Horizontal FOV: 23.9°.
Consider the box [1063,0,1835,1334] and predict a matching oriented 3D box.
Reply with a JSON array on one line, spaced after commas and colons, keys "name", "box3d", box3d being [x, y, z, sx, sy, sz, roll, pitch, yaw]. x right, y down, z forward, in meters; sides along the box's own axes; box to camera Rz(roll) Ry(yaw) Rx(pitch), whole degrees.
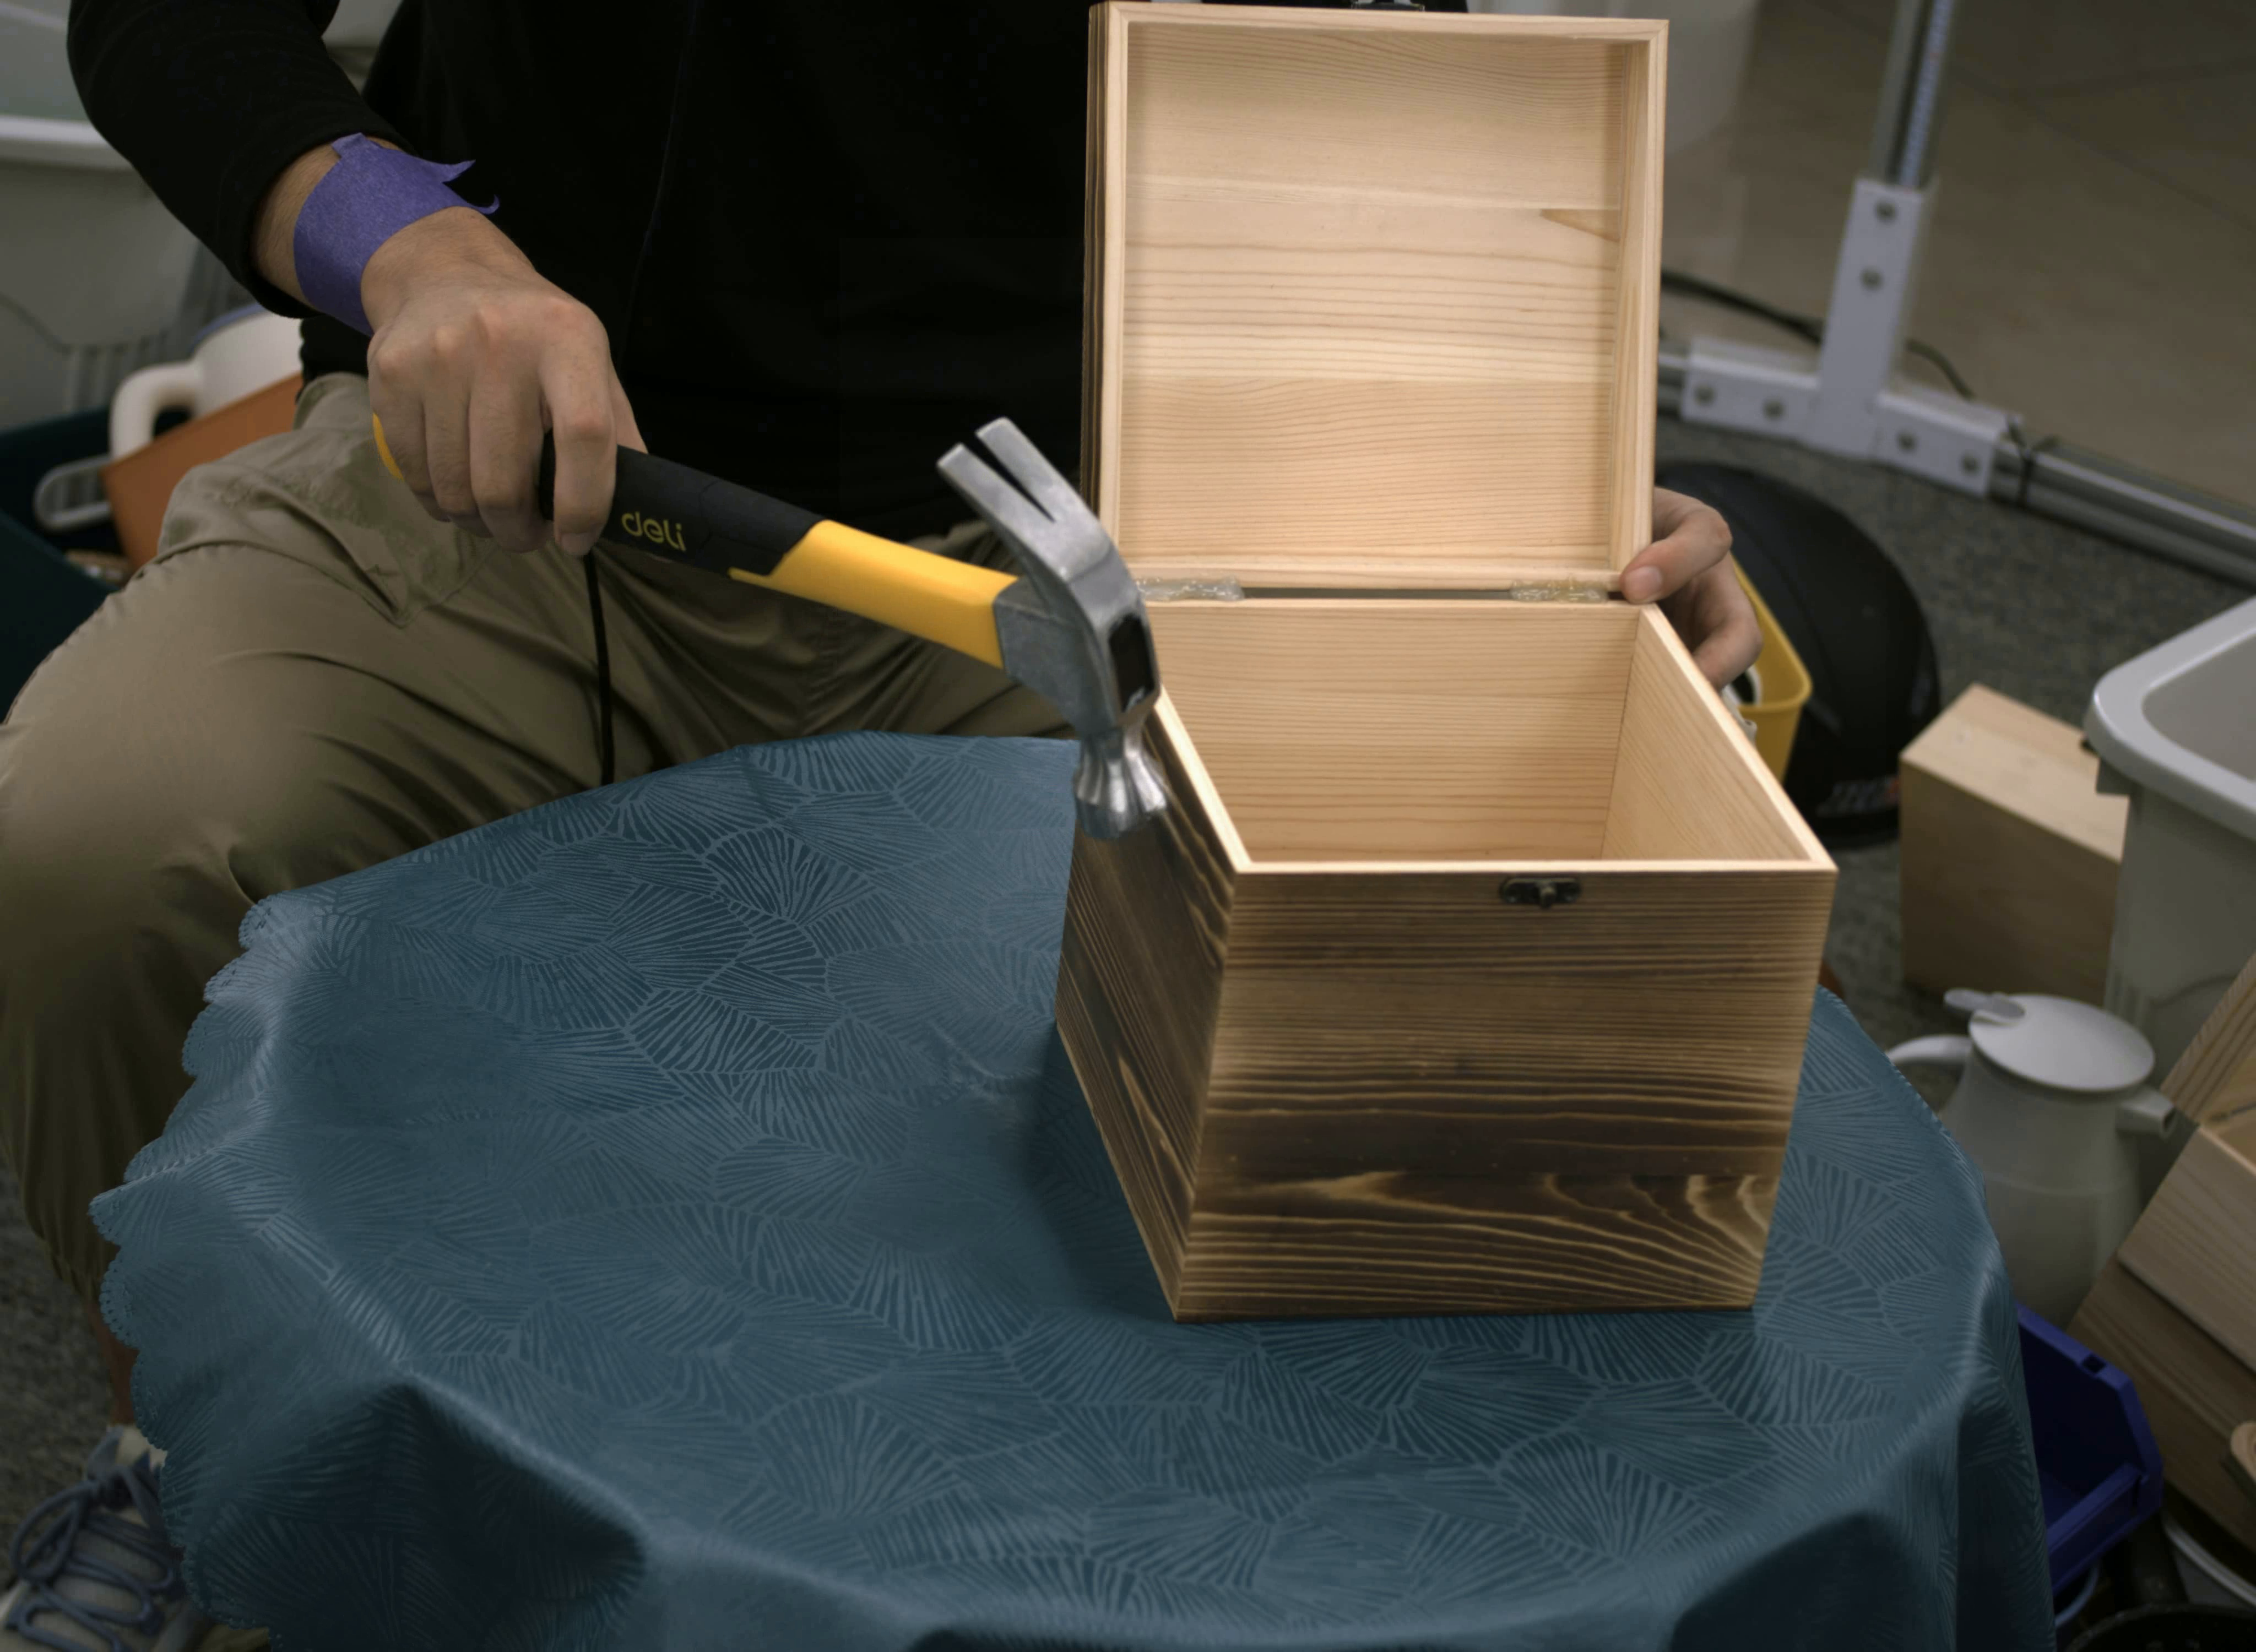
[{"name": "box", "box3d": [0.098, -0.068, 1.805, 0.207, 0.374, 0.325, 0, 27, -13]}]

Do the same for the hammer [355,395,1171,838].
[{"name": "hammer", "box3d": [-0.130, -0.094, 1.767, 0.340, 0.130, 0.032, 17, 41, 36]}]
